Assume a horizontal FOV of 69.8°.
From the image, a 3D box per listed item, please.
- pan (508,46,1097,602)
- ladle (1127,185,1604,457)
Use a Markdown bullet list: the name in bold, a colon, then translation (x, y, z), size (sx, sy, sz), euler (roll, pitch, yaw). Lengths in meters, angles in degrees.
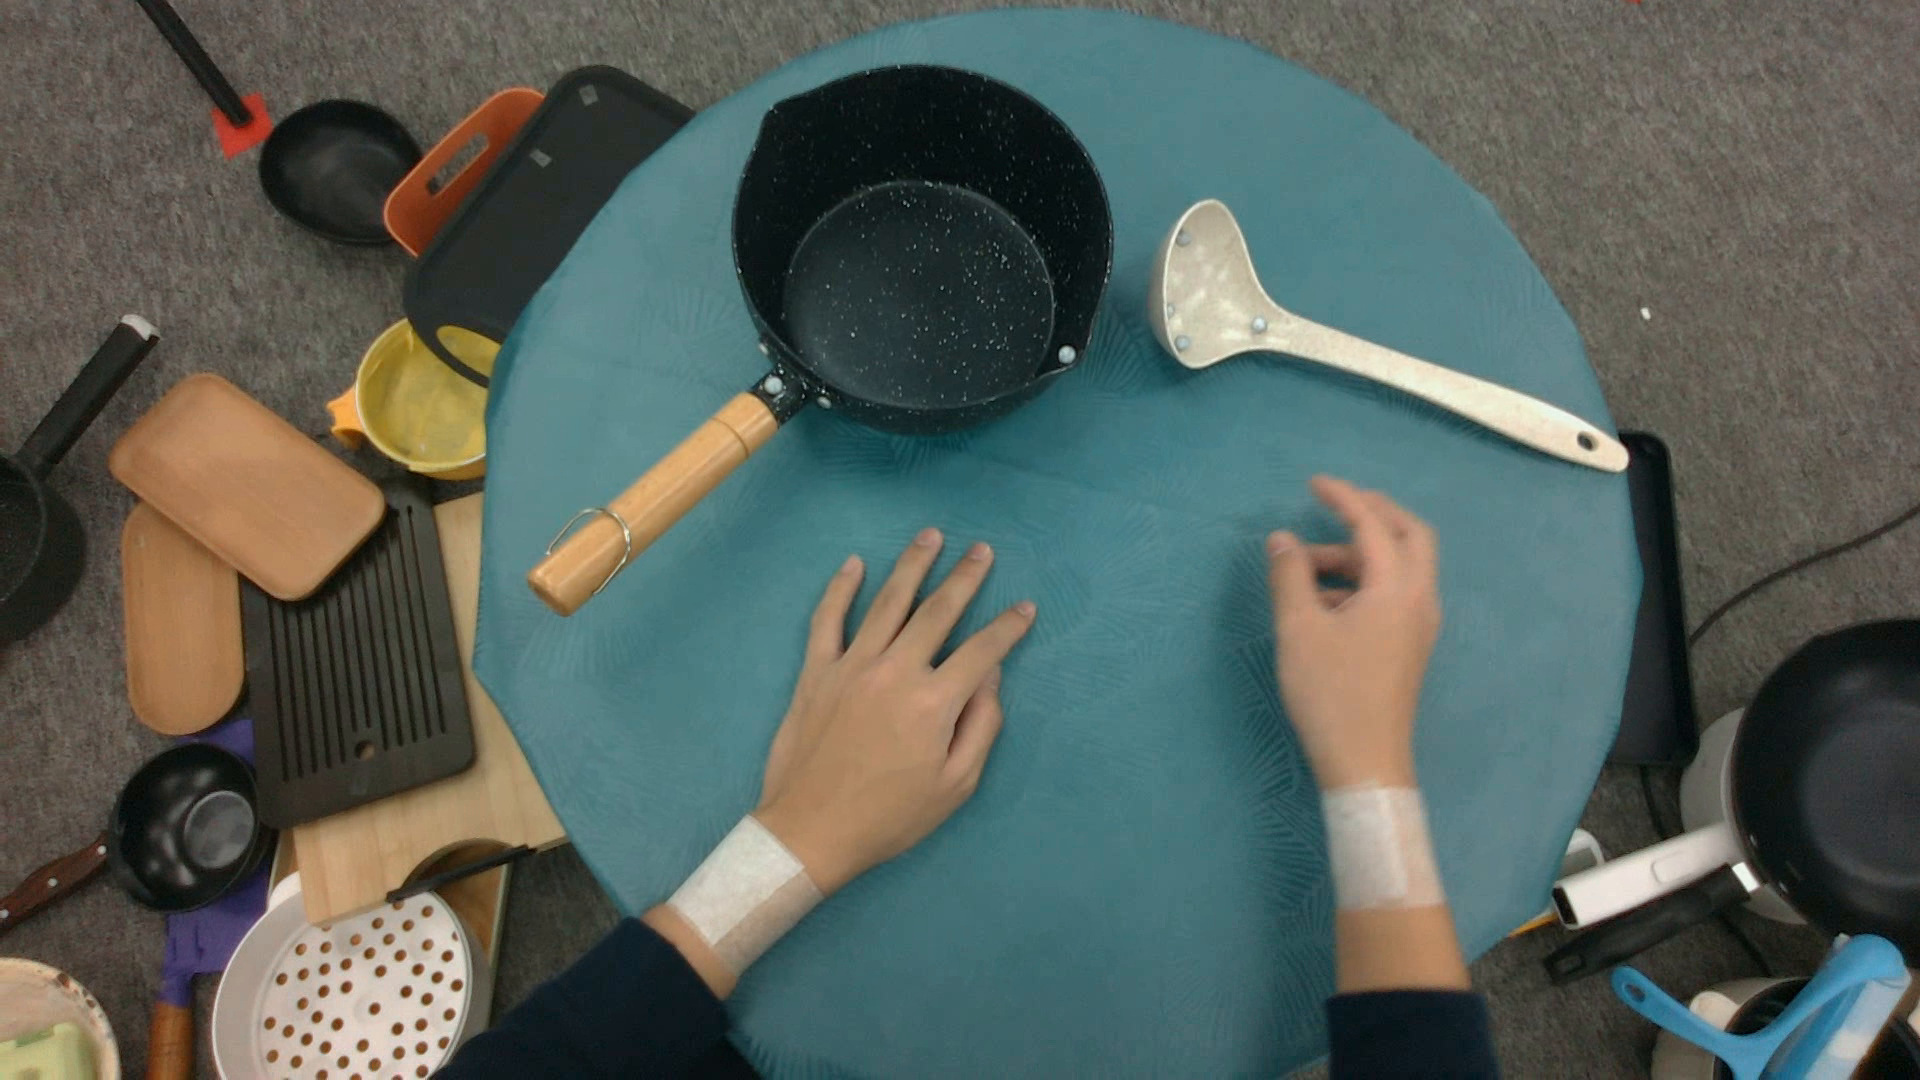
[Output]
- **pan**: translation (-0.077, -0.089, 0.668), size (0.207, 0.108, 0.344), euler (39, 74, 6)
- **ladle**: translation (0.218, -0.105, 0.714), size (0.275, 0.069, 0.089), euler (19, 69, 2)
